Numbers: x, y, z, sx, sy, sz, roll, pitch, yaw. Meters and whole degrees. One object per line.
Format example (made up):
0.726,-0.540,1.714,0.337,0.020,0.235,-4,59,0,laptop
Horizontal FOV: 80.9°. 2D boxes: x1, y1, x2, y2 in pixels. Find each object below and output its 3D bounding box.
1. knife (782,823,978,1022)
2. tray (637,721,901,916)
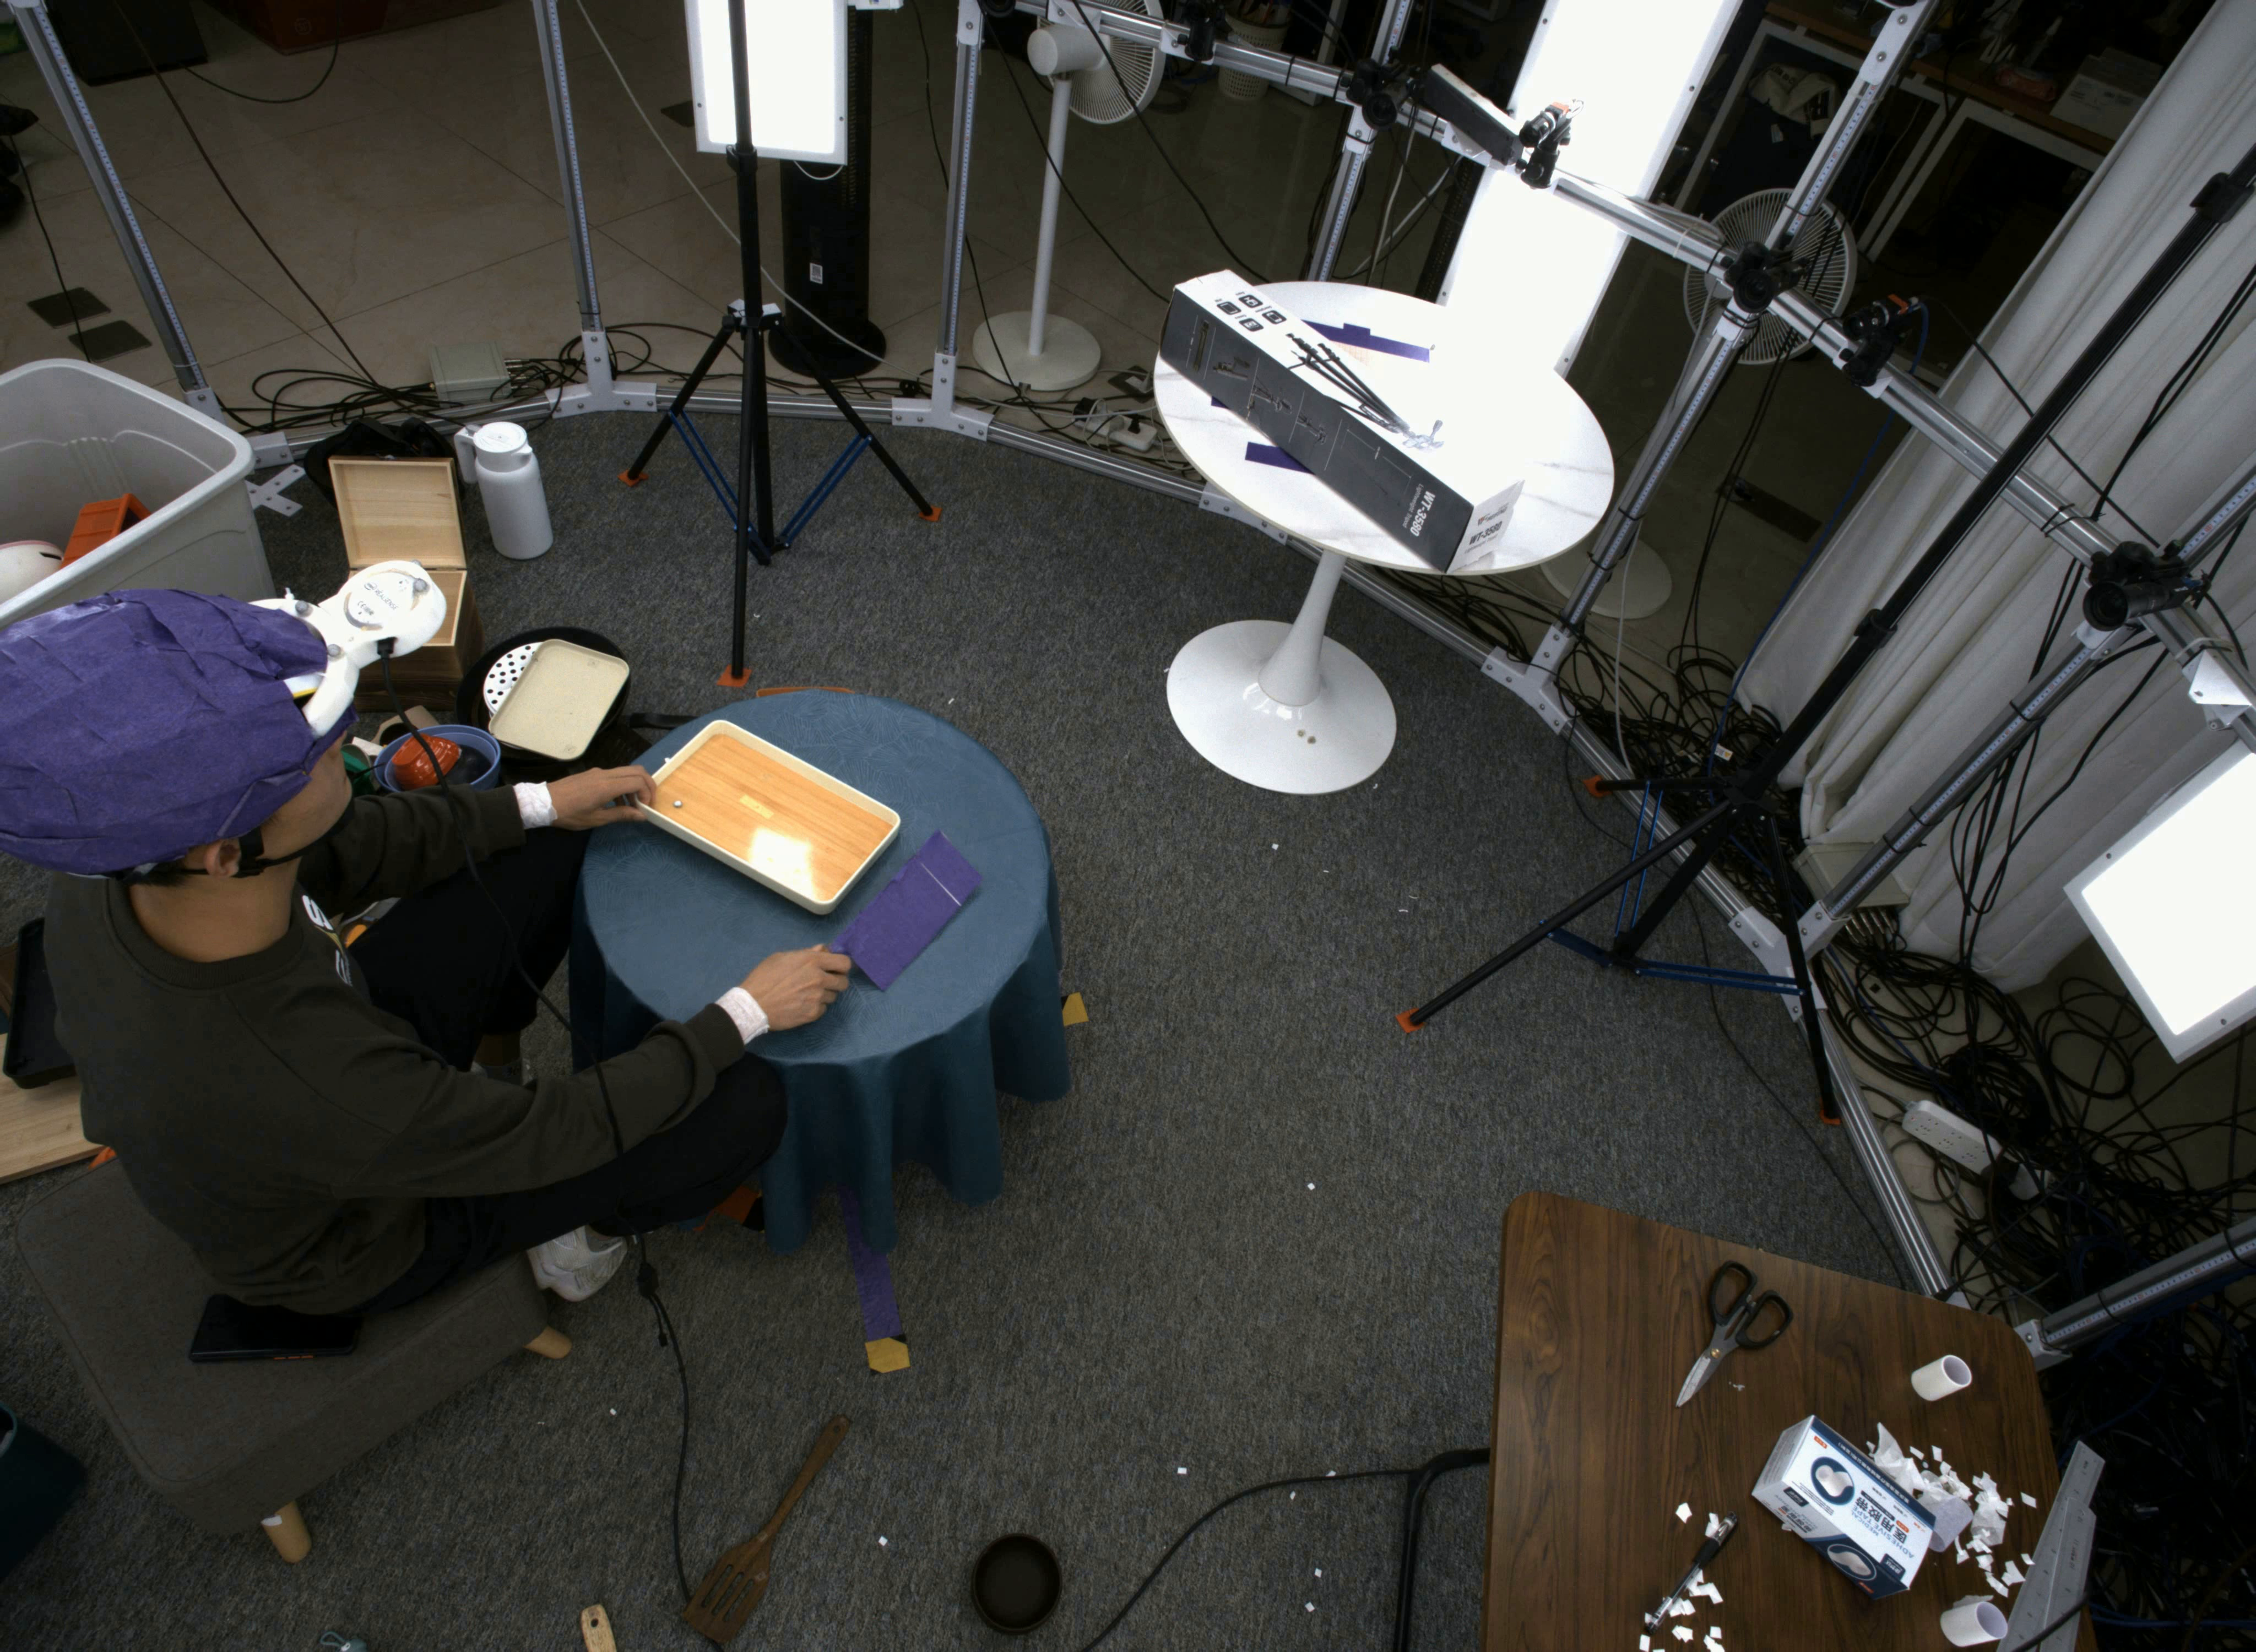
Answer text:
-0.298,0.136,1.625,0.106,0.031,0.314,48,59,-17,knife
-0.470,-0.016,1.699,0.297,0.028,0.190,28,47,4,tray
